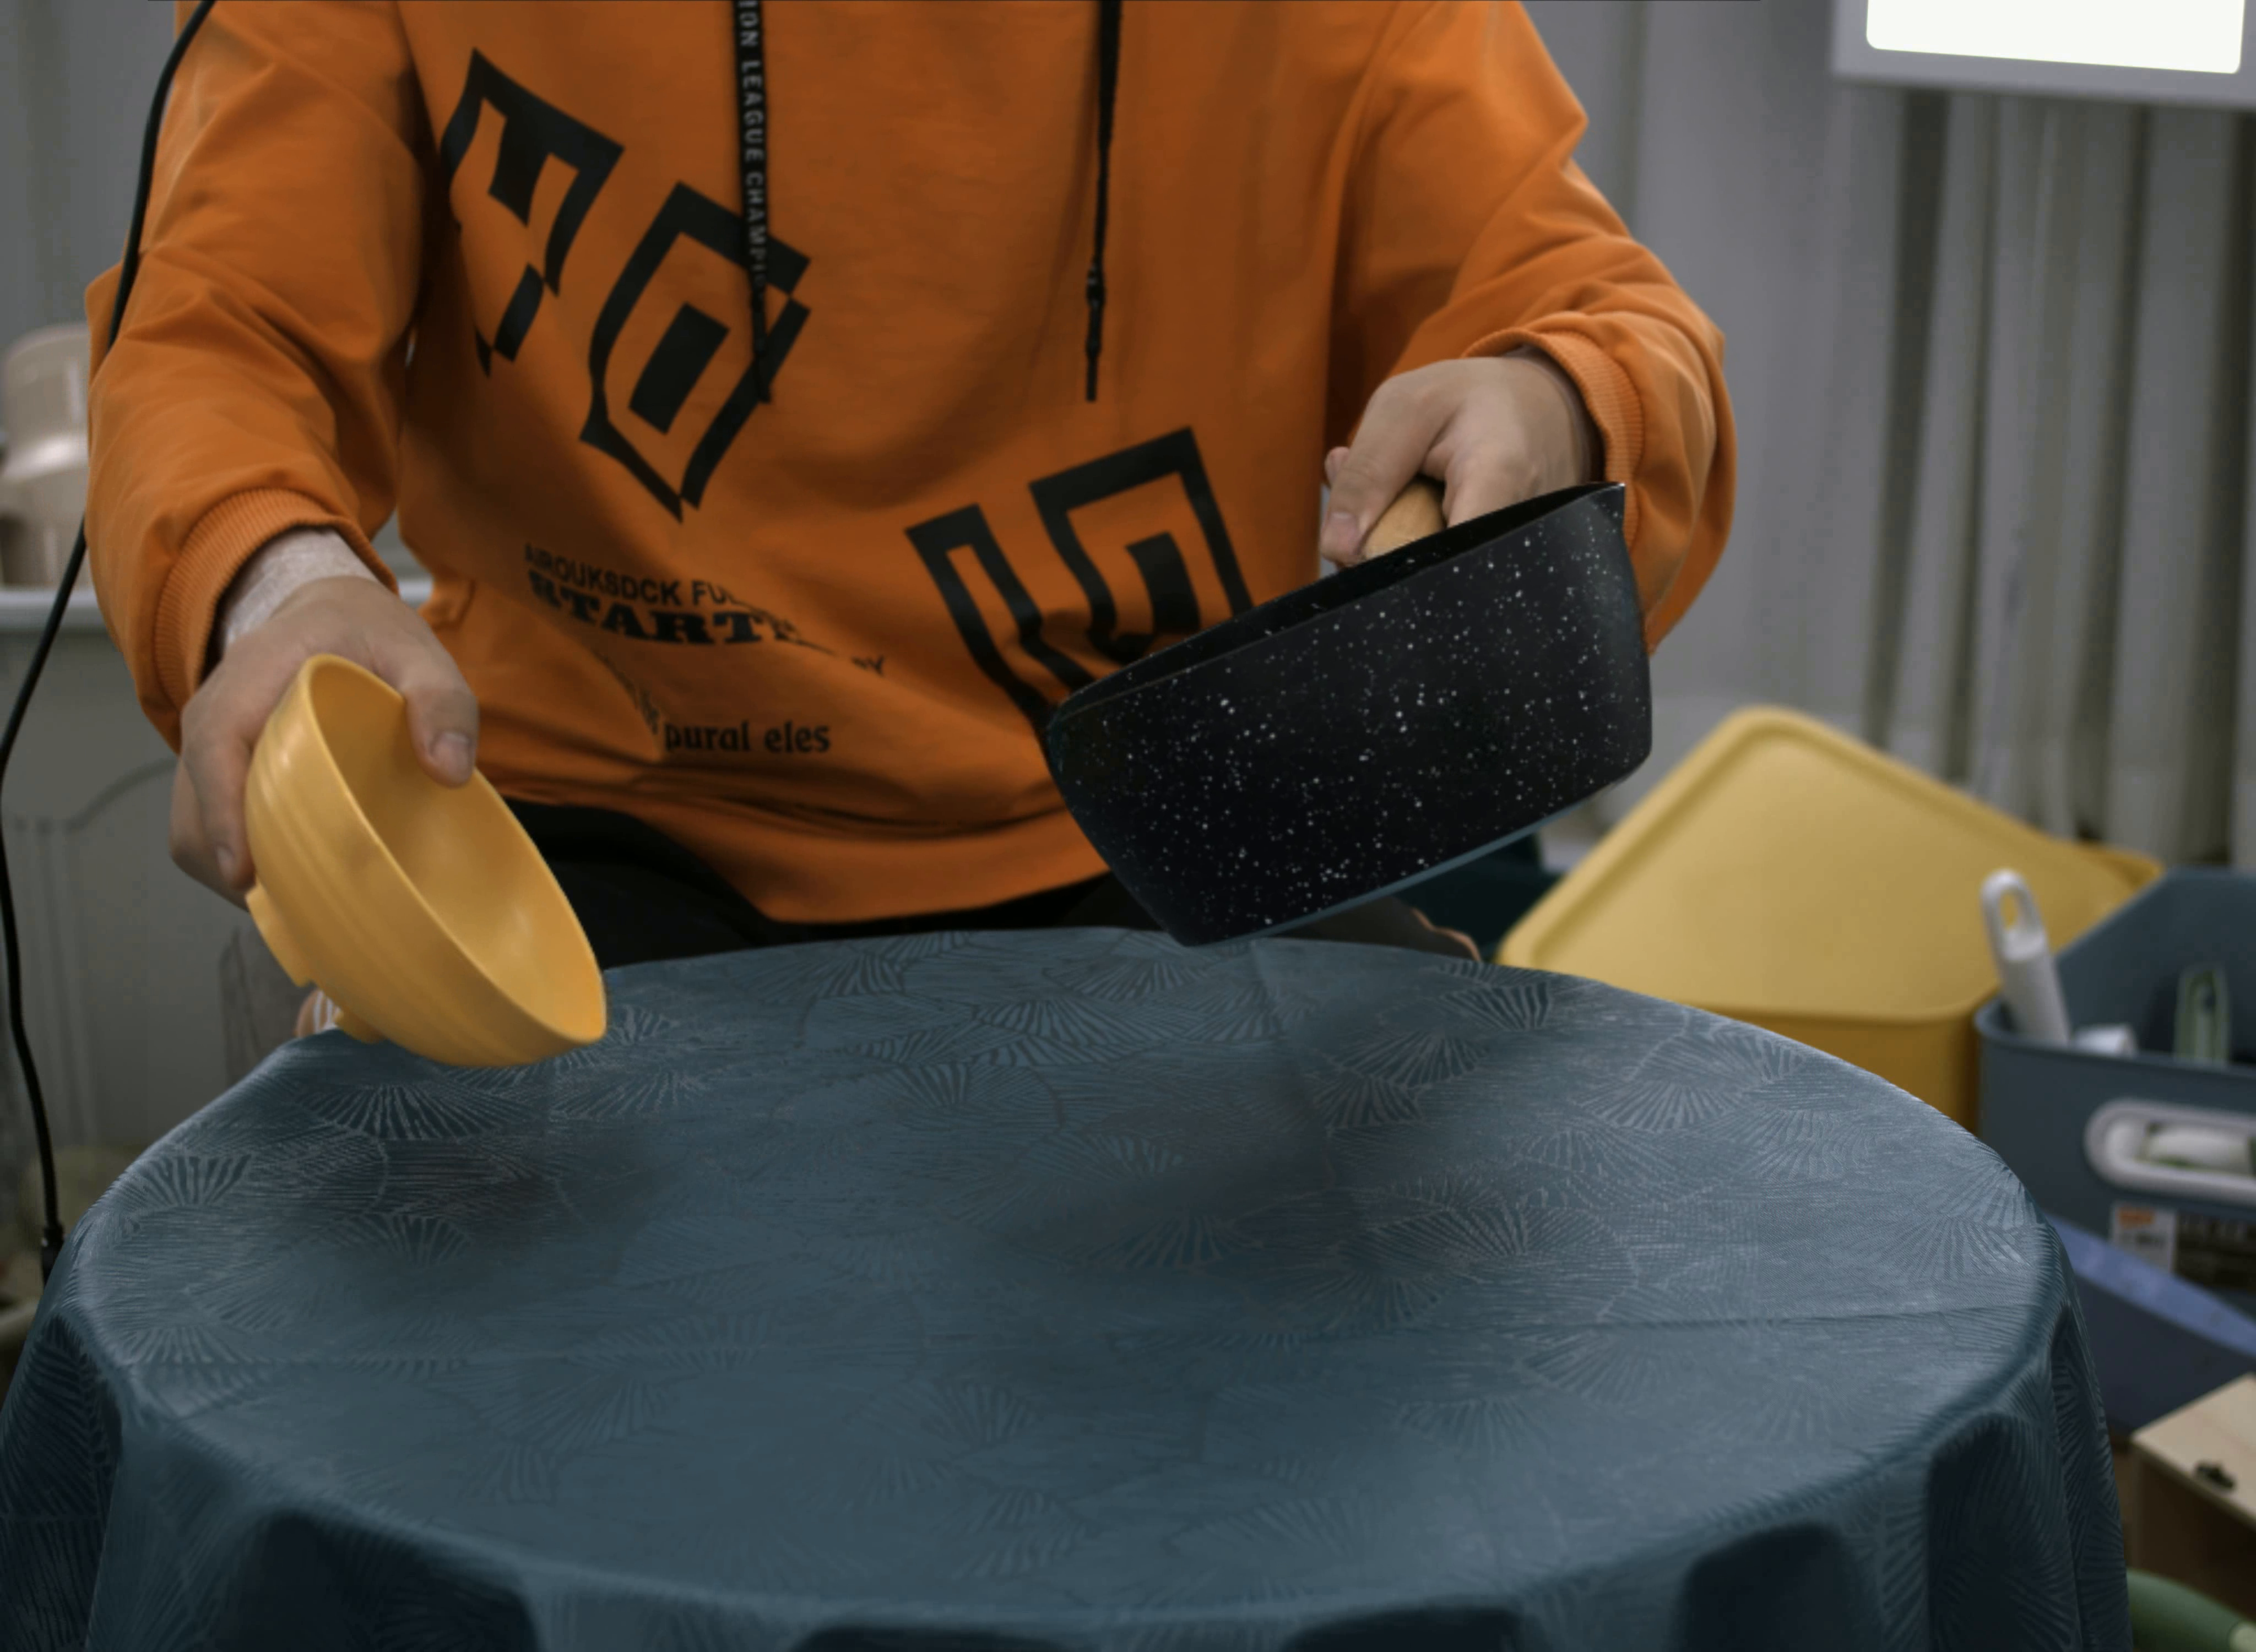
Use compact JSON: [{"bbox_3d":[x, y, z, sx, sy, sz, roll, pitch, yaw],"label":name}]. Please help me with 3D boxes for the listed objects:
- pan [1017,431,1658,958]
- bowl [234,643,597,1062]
[{"bbox_3d":[0.082,-0.053,1.647,0.206,0.109,0.342,-23,6,14],"label":"pan"},{"bbox_3d":[-0.227,0.020,1.593,0.060,0.146,0.144,-36,14,8],"label":"bowl"}]
